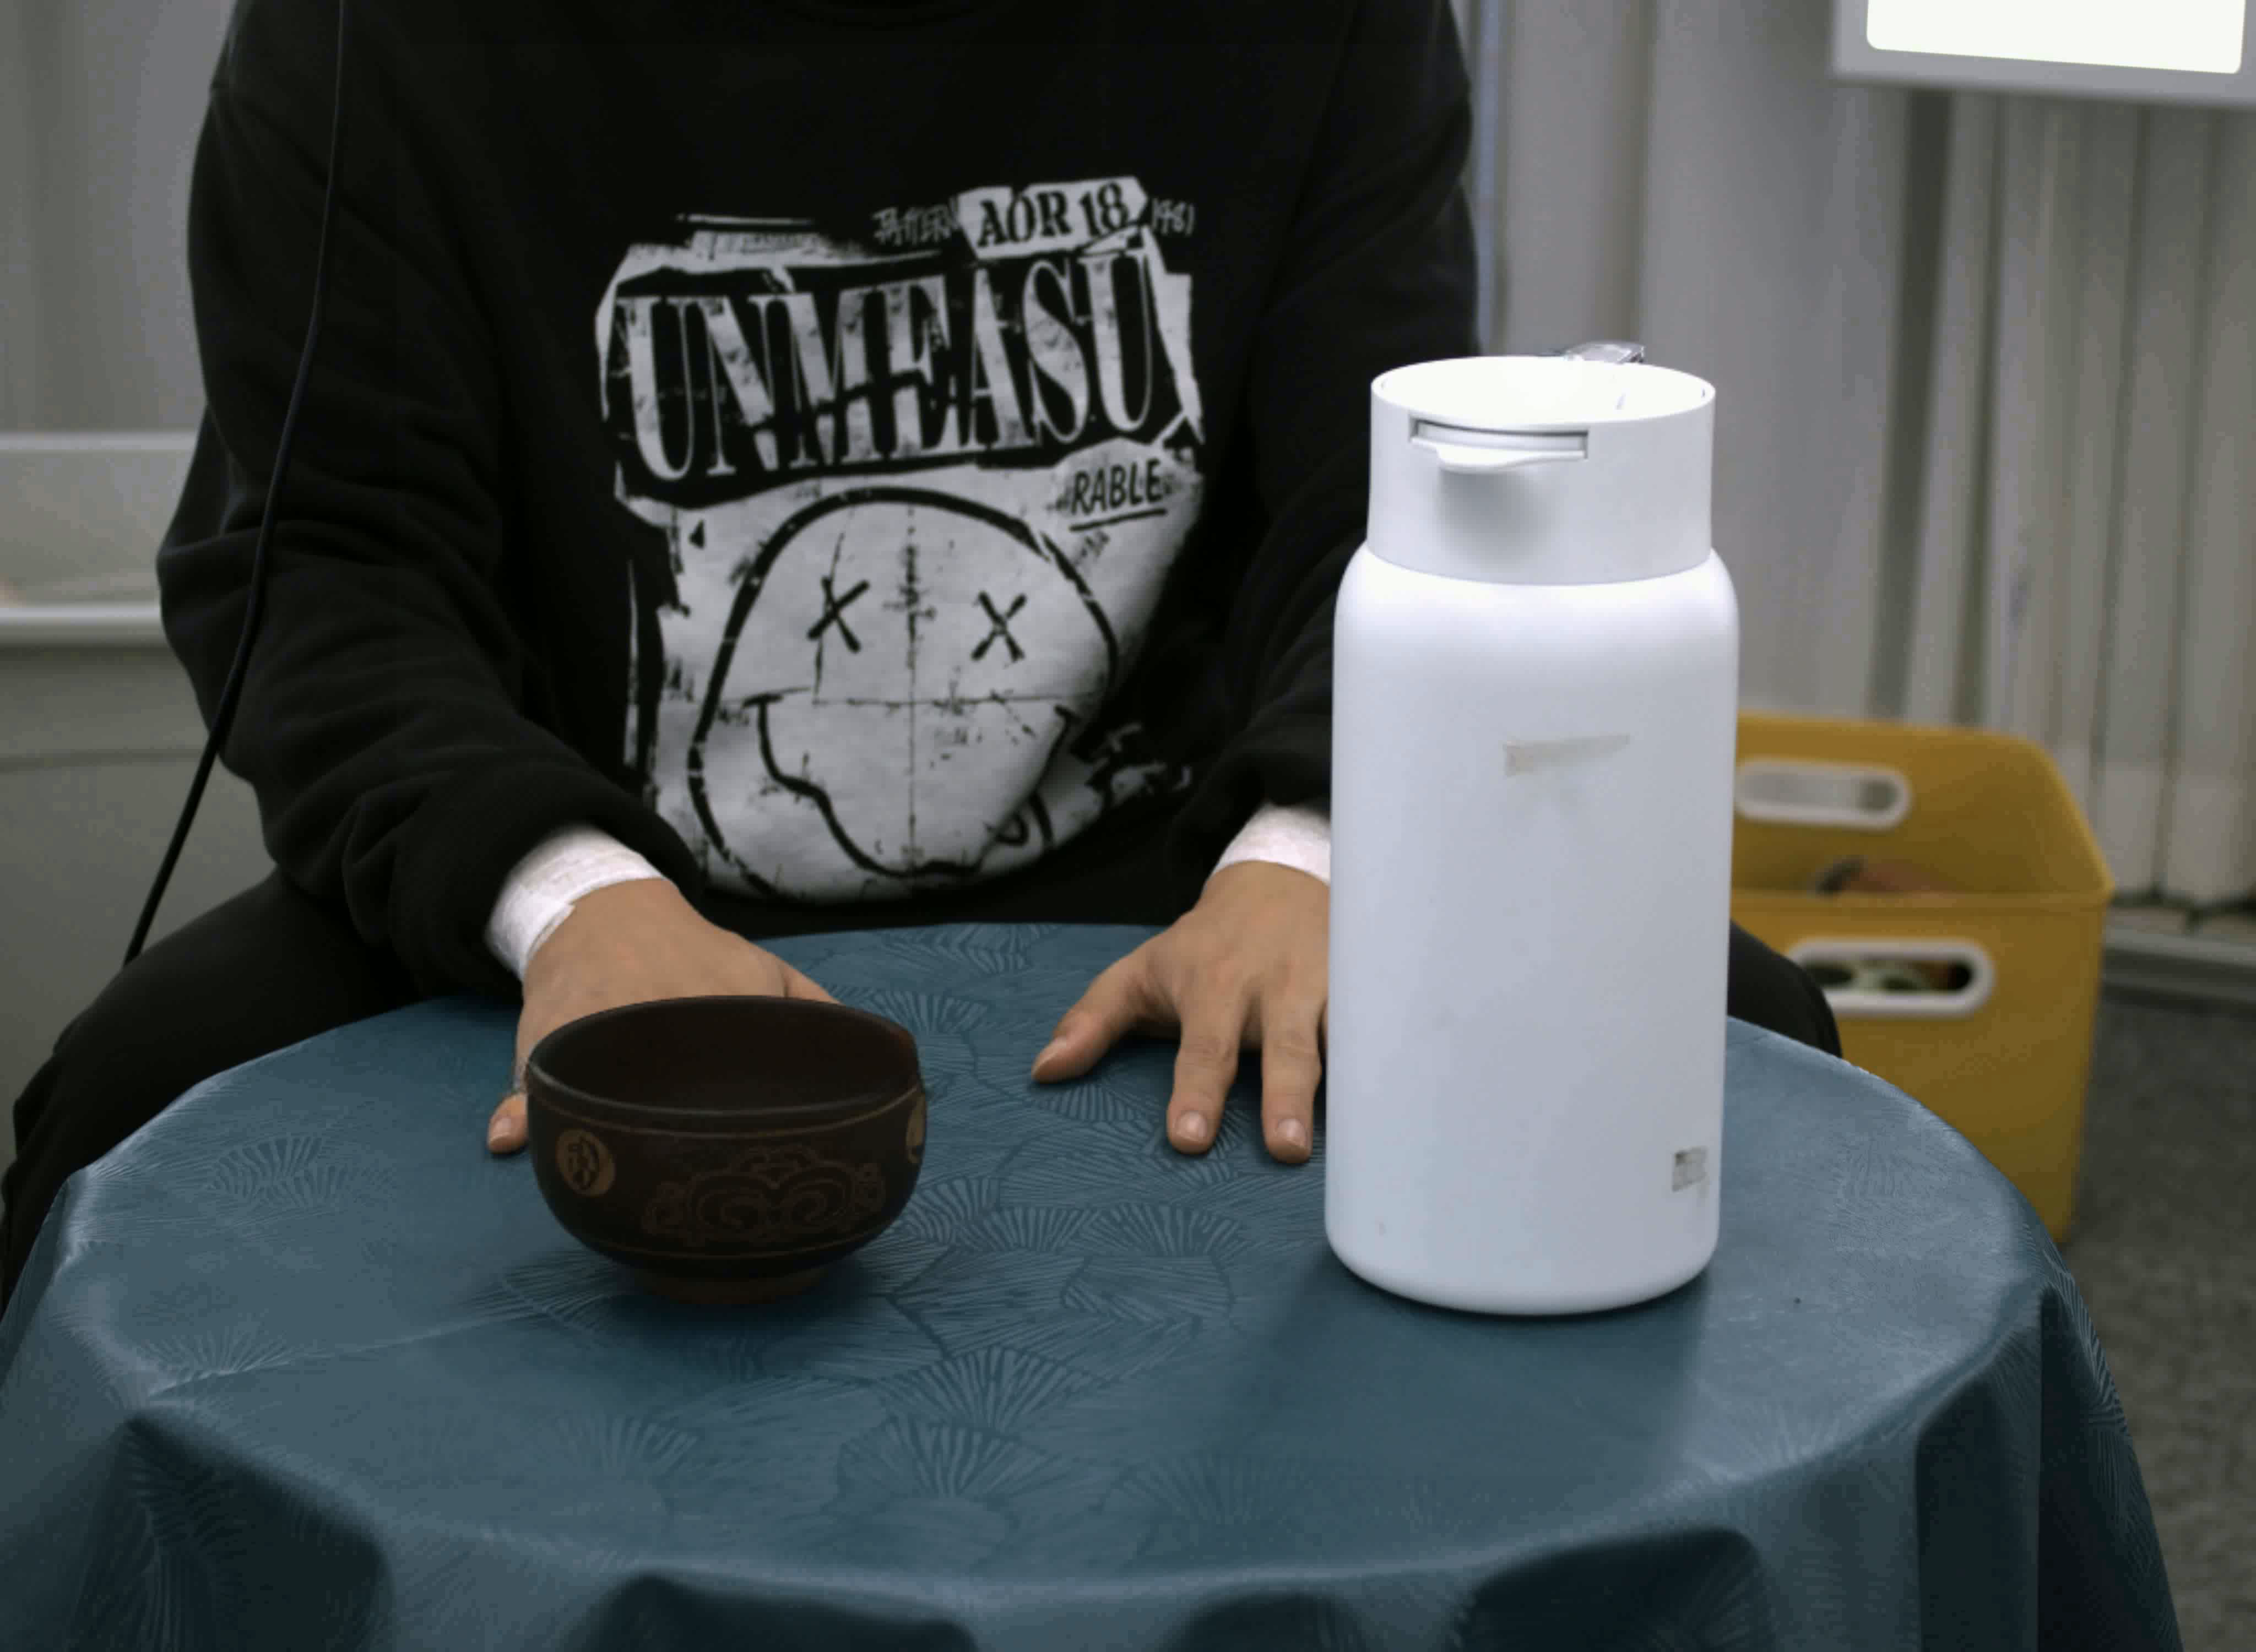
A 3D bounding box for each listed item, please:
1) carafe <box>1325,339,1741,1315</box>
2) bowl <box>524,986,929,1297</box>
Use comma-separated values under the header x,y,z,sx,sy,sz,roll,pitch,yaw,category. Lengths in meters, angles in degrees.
x,y,z,sx,sy,sz,roll,pitch,yaw,category
0.122,-0.004,1.546,0.122,0.271,0.173,4,17,20,carafe
-0.117,0.096,1.539,0.117,0.070,0.117,1,15,0,bowl
